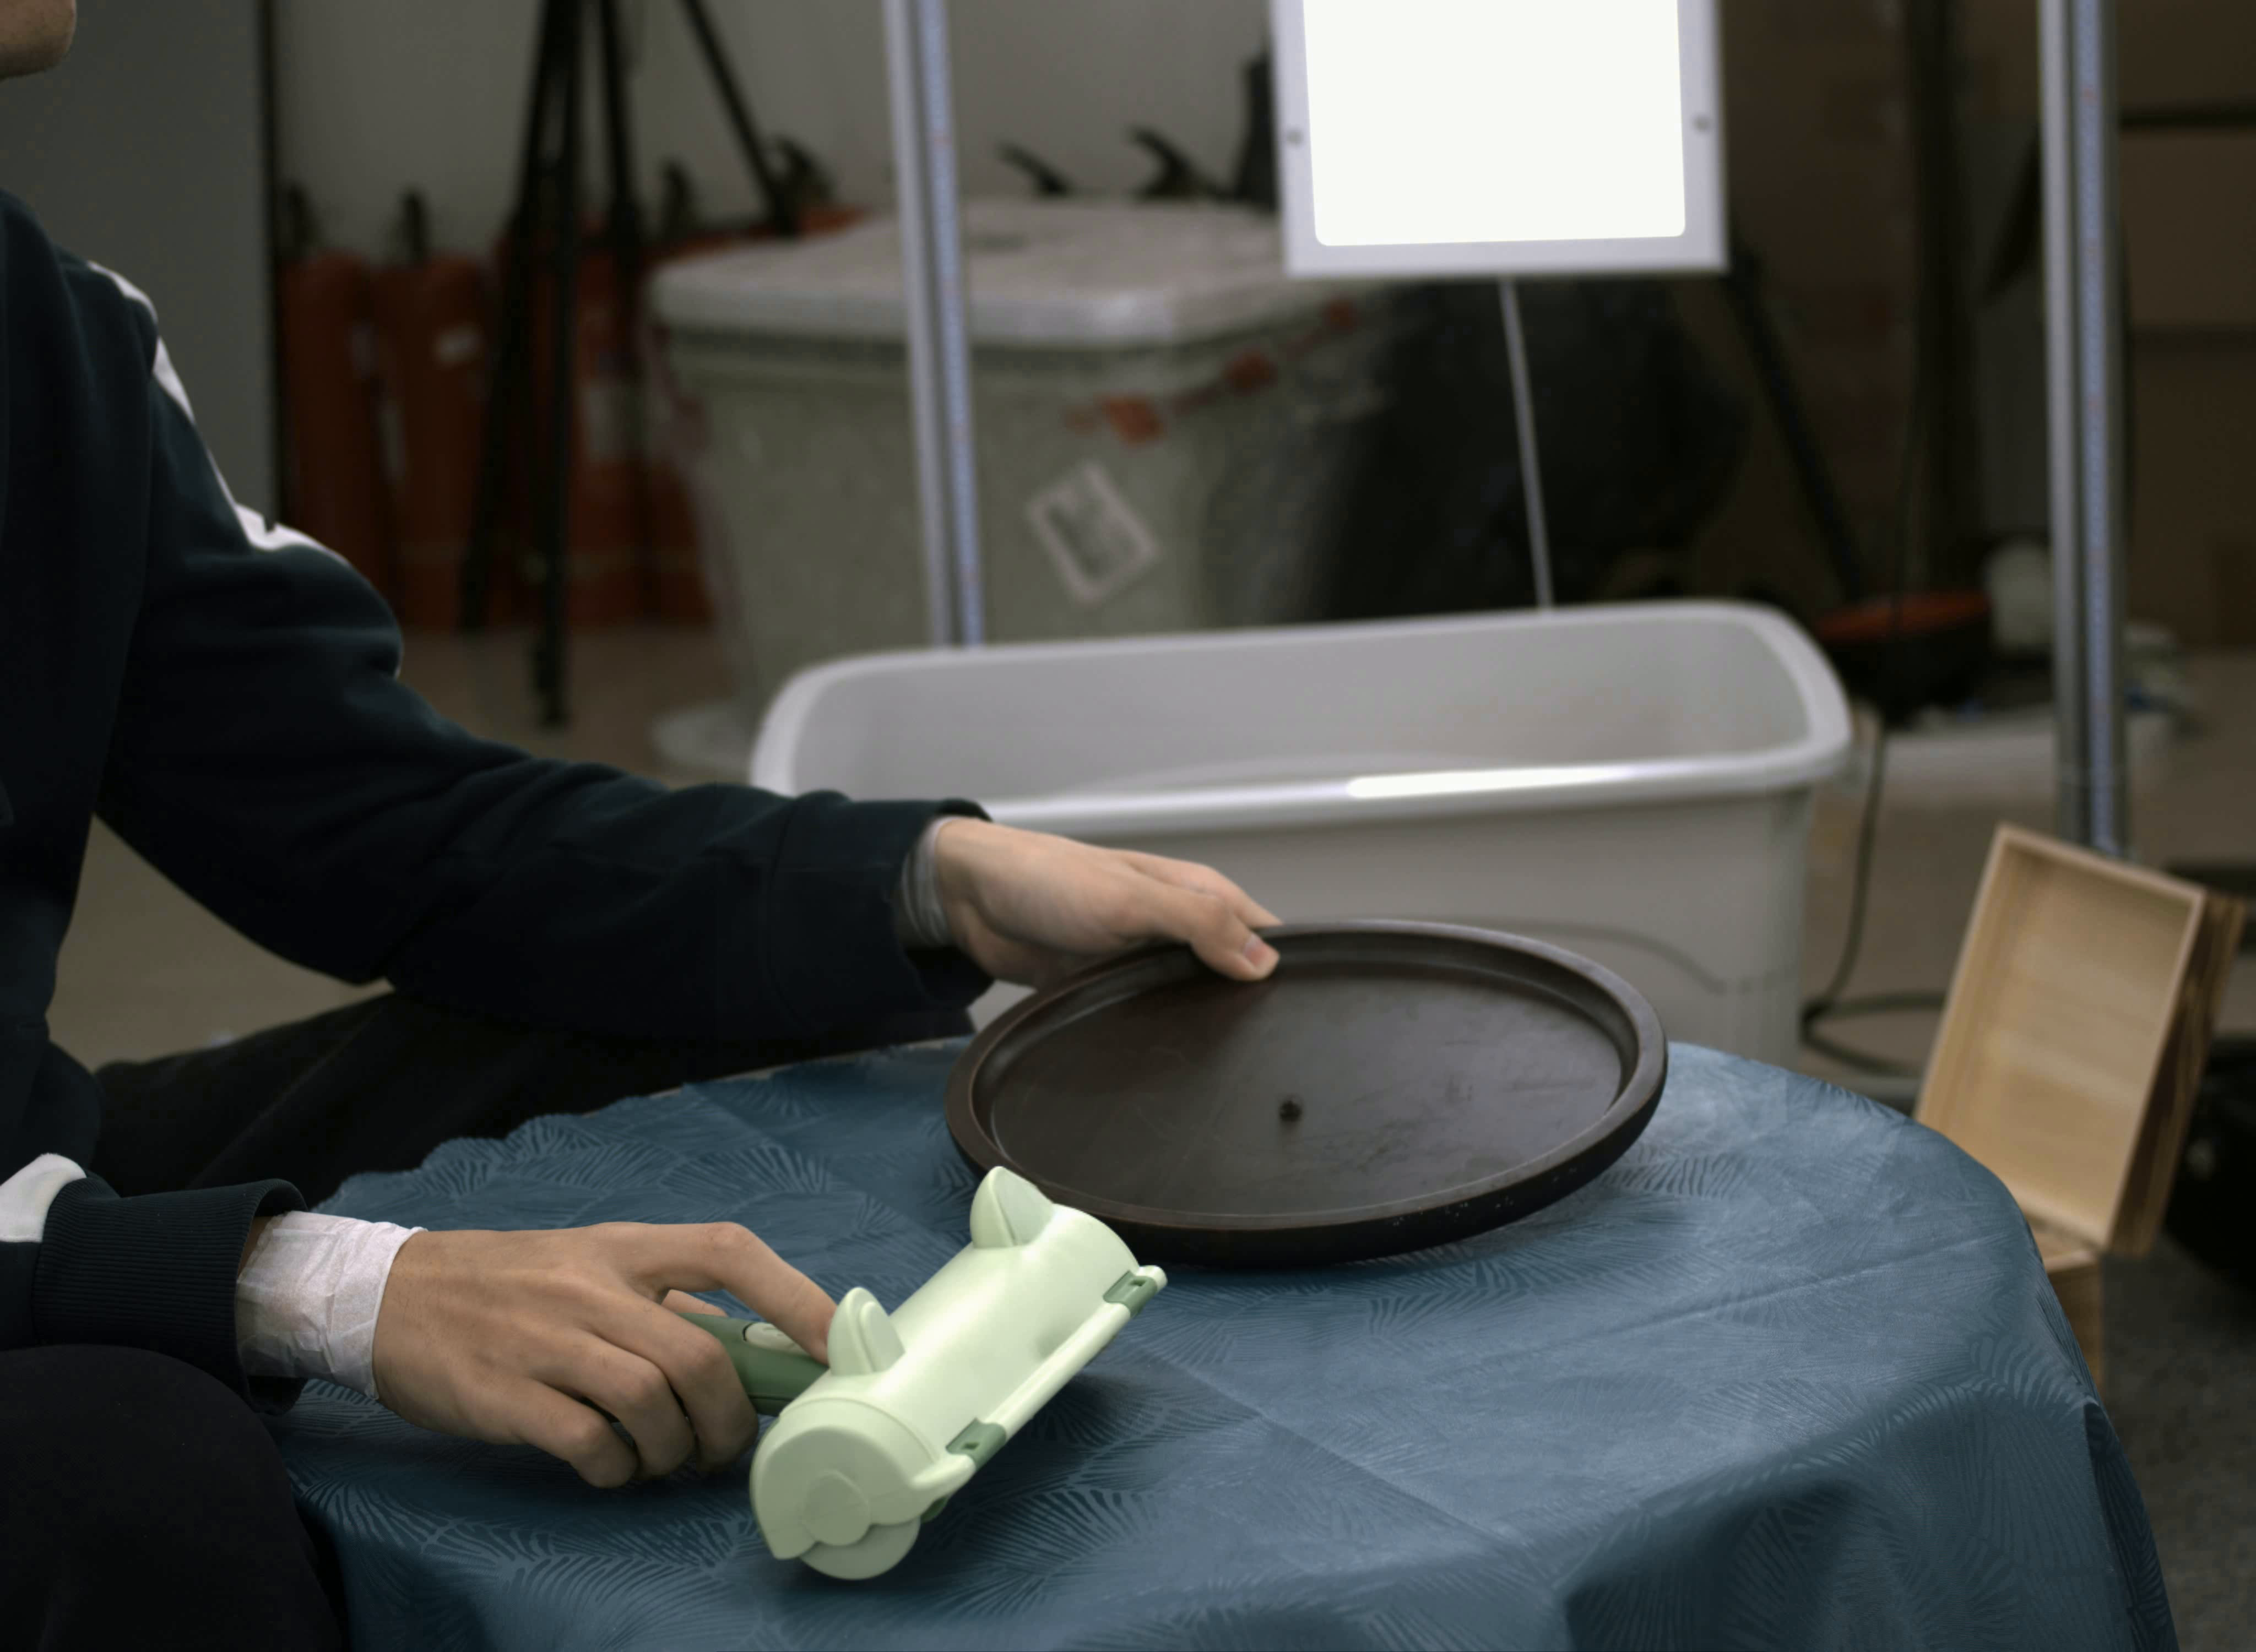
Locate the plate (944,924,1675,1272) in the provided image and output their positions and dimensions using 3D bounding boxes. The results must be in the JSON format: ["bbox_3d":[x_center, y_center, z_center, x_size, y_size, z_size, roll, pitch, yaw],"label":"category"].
[{"bbox_3d":[0.063,0.091,1.899,0.254,0.029,0.254,-6,23,1],"label":"plate"}]

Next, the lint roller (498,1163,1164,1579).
[{"bbox_3d":[-0.103,0.149,1.649,0.185,0.082,0.195,10,18,19],"label":"lint roller"}]
